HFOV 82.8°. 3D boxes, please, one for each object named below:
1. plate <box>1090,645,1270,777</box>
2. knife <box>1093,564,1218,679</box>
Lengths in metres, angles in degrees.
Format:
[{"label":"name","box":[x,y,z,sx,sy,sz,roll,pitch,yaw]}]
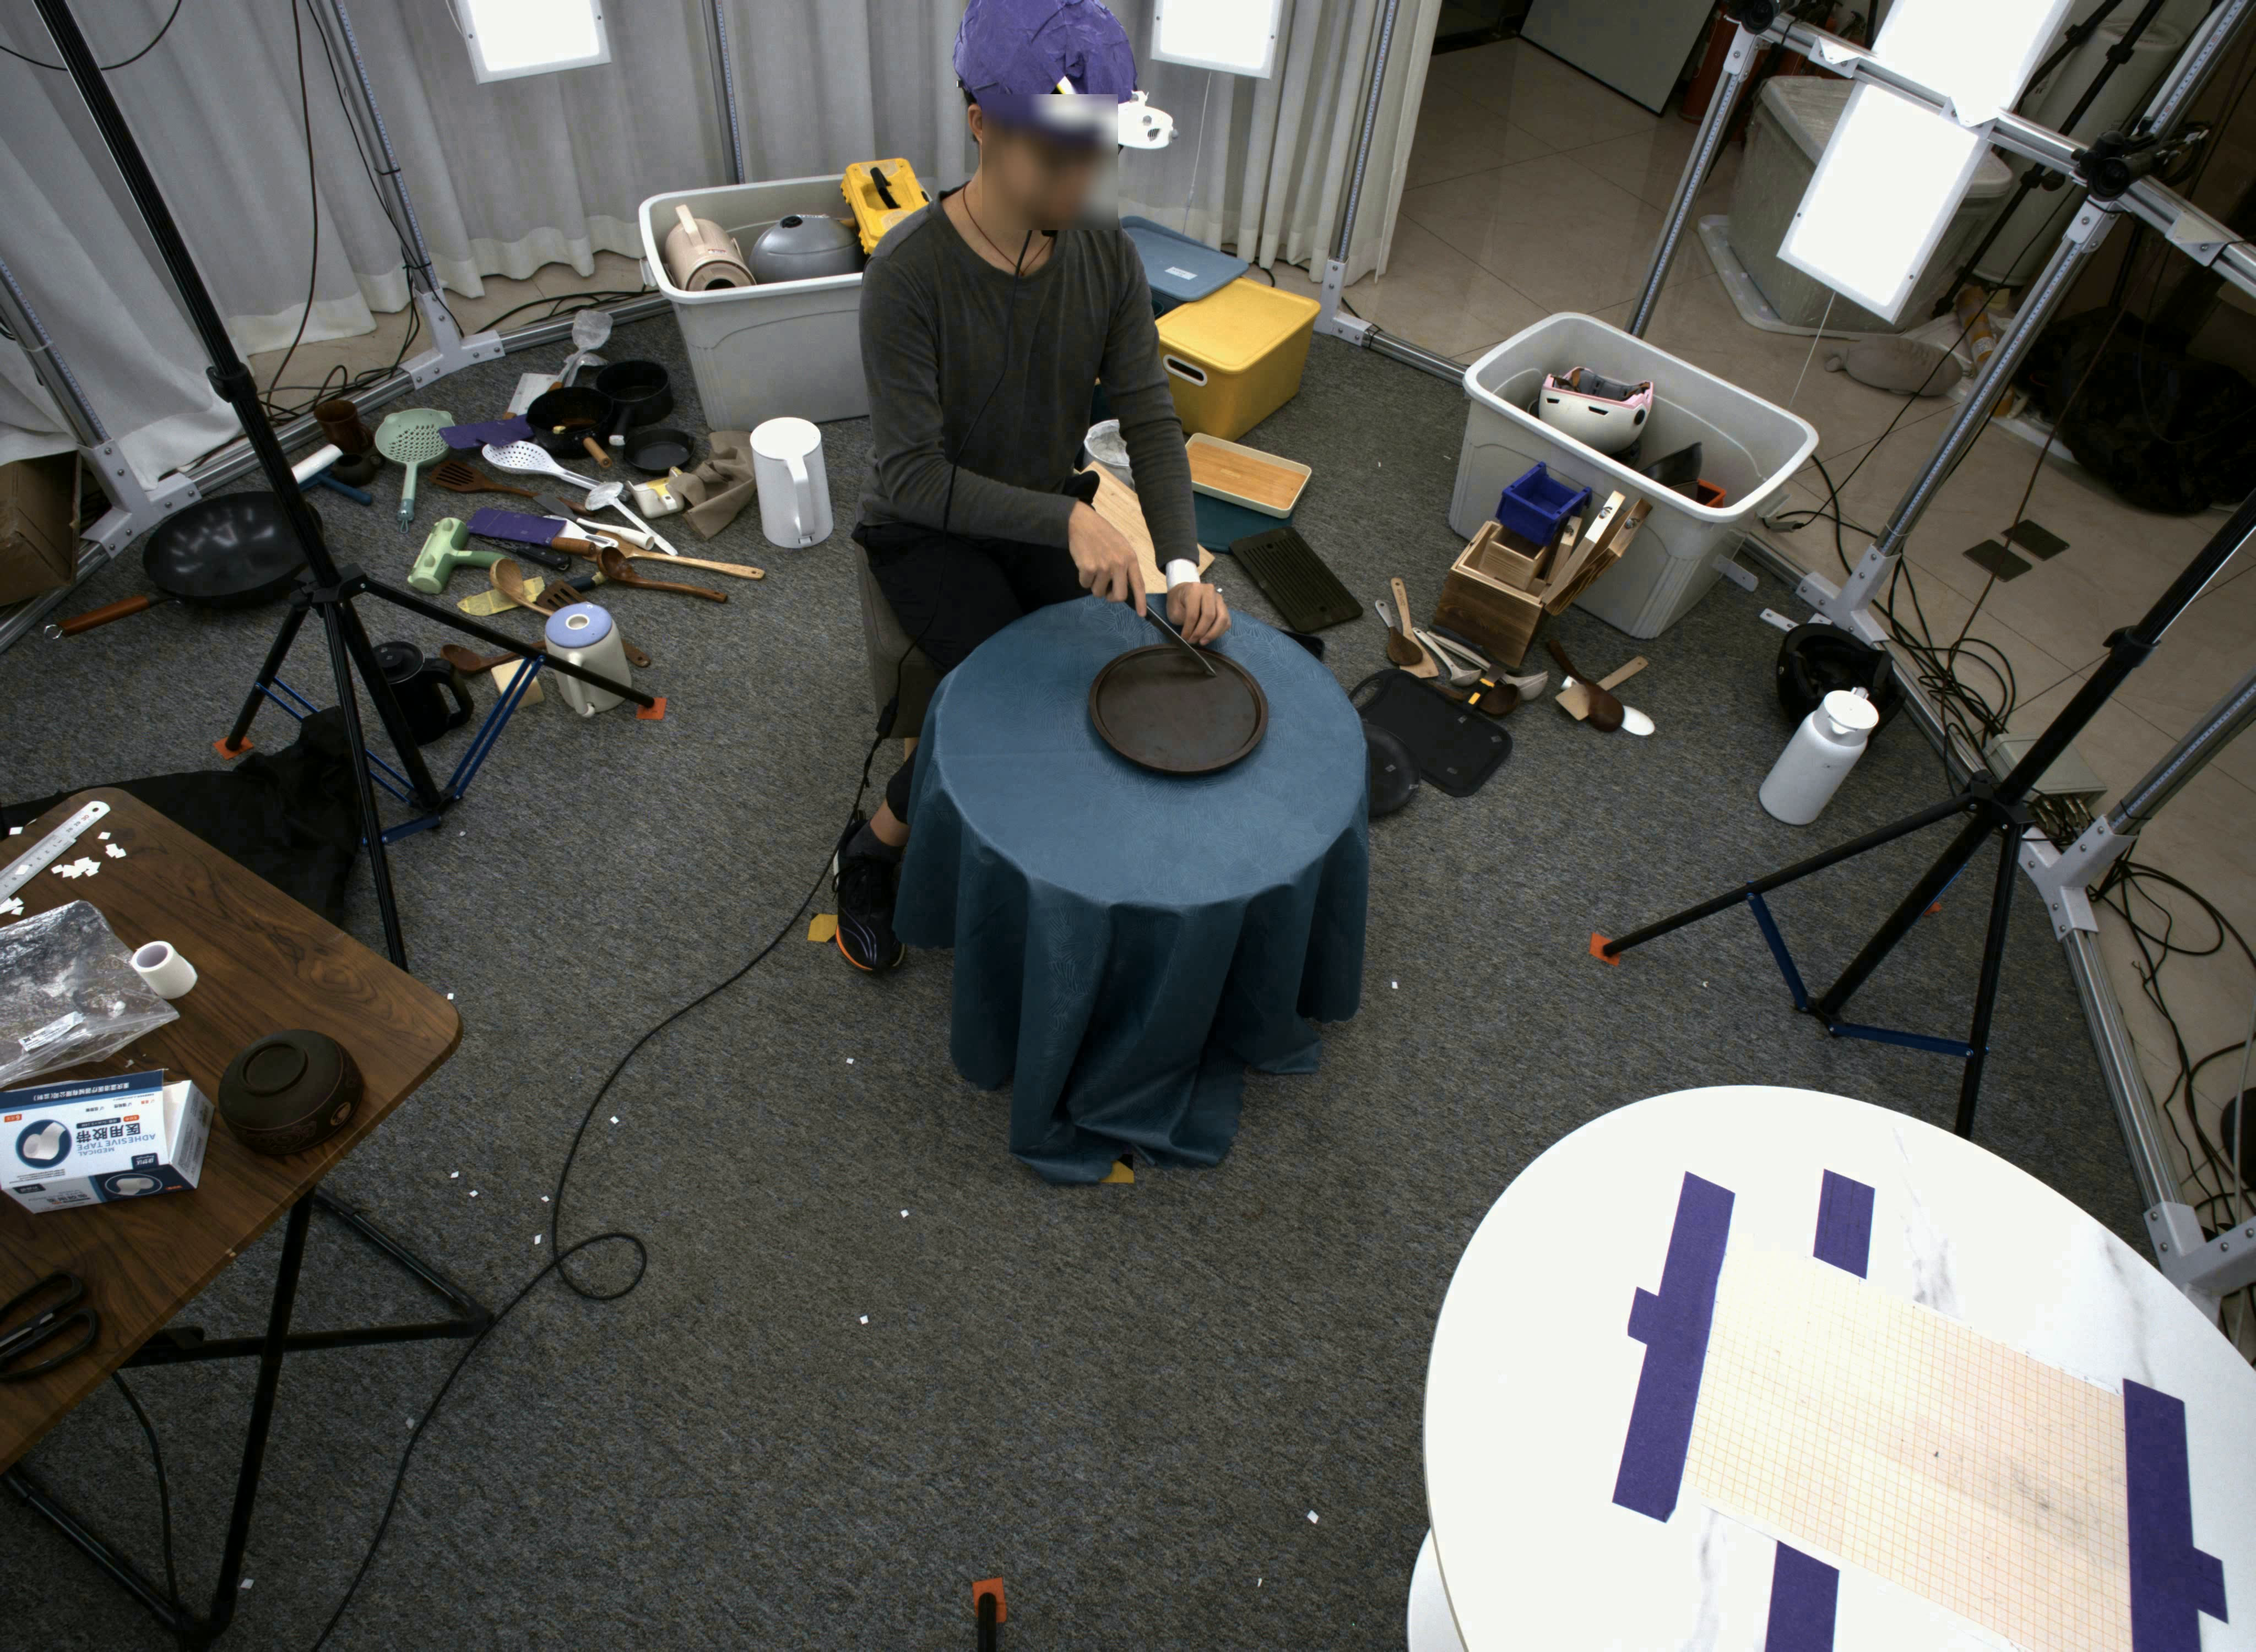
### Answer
[{"label":"plate","box":[0.072,-0.163,1.799,0.254,0.028,0.261,2,50,-3]},{"label":"knife","box":[0.044,-0.290,1.827,0.236,0.024,0.016,41,50,-10]}]
